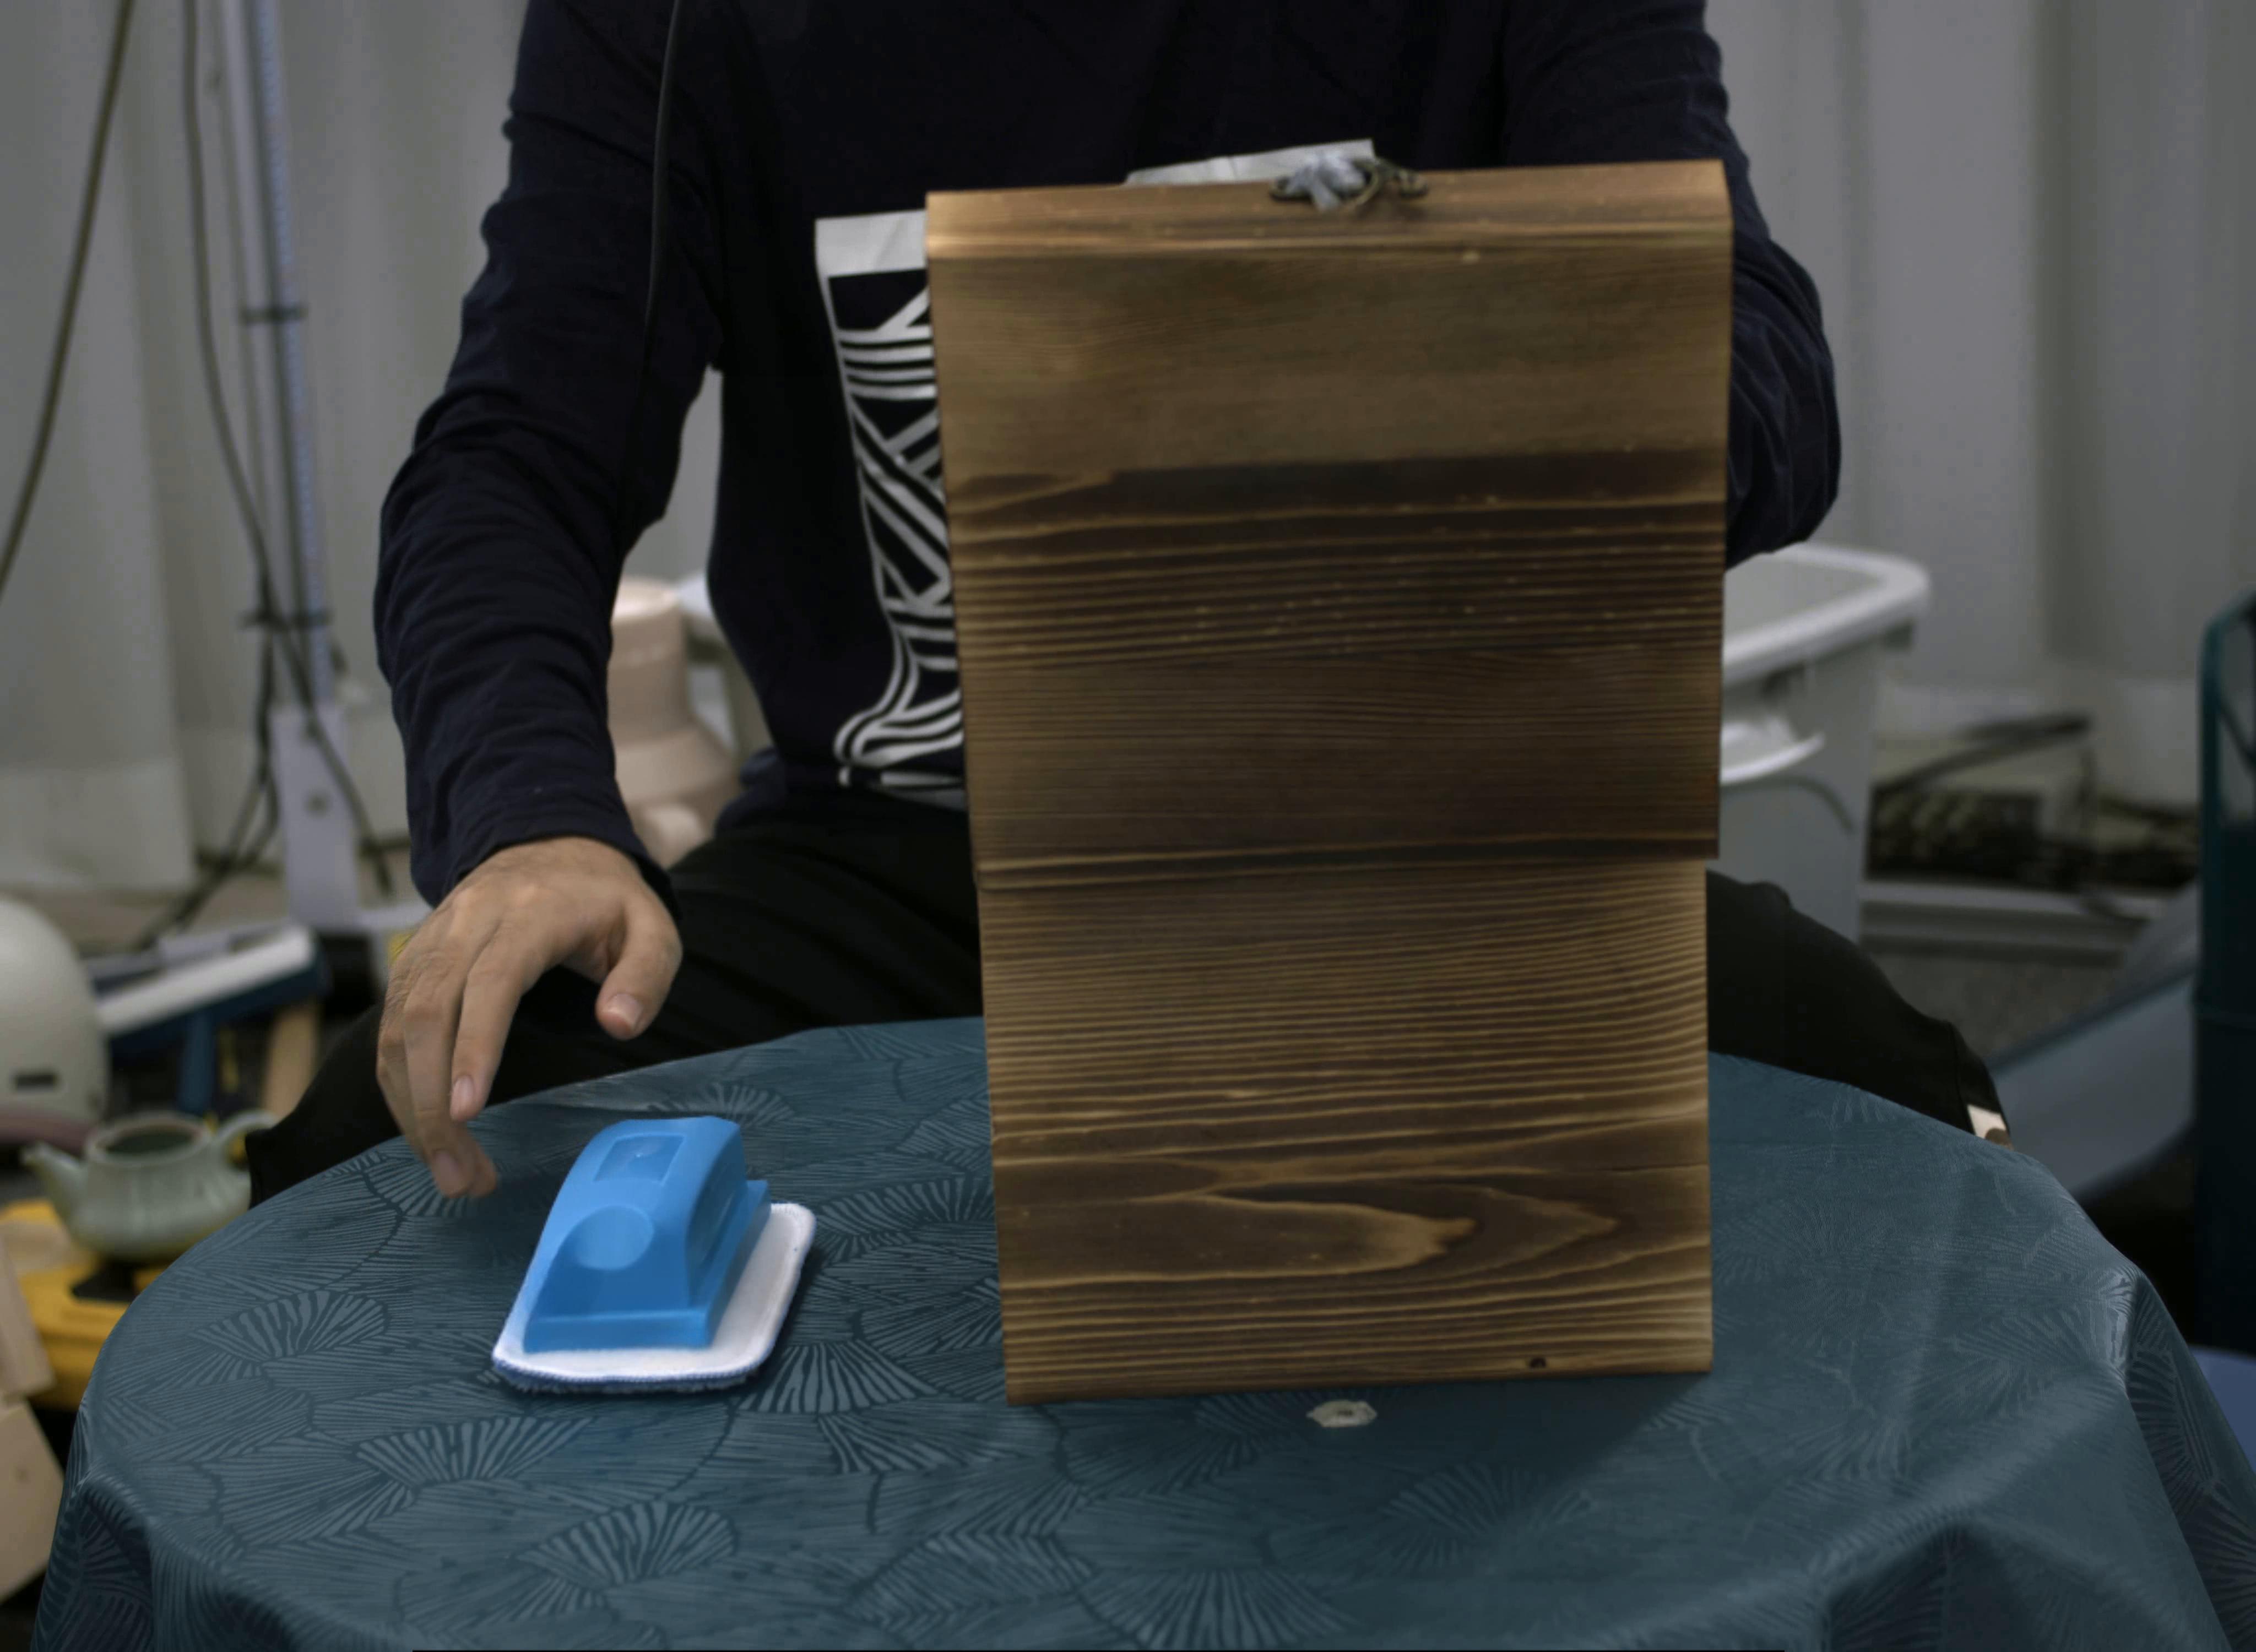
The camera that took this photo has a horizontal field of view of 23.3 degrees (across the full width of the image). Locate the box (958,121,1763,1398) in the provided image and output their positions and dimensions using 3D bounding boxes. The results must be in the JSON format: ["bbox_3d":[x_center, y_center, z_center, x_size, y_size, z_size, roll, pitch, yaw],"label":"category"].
[{"bbox_3d":[0.059,-0.028,1.542,0.208,0.374,0.324,-2,14,0],"label":"box"}]

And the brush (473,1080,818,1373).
[{"bbox_3d":[-0.142,0.115,1.623,0.083,0.055,0.145,2,17,7],"label":"brush"}]
